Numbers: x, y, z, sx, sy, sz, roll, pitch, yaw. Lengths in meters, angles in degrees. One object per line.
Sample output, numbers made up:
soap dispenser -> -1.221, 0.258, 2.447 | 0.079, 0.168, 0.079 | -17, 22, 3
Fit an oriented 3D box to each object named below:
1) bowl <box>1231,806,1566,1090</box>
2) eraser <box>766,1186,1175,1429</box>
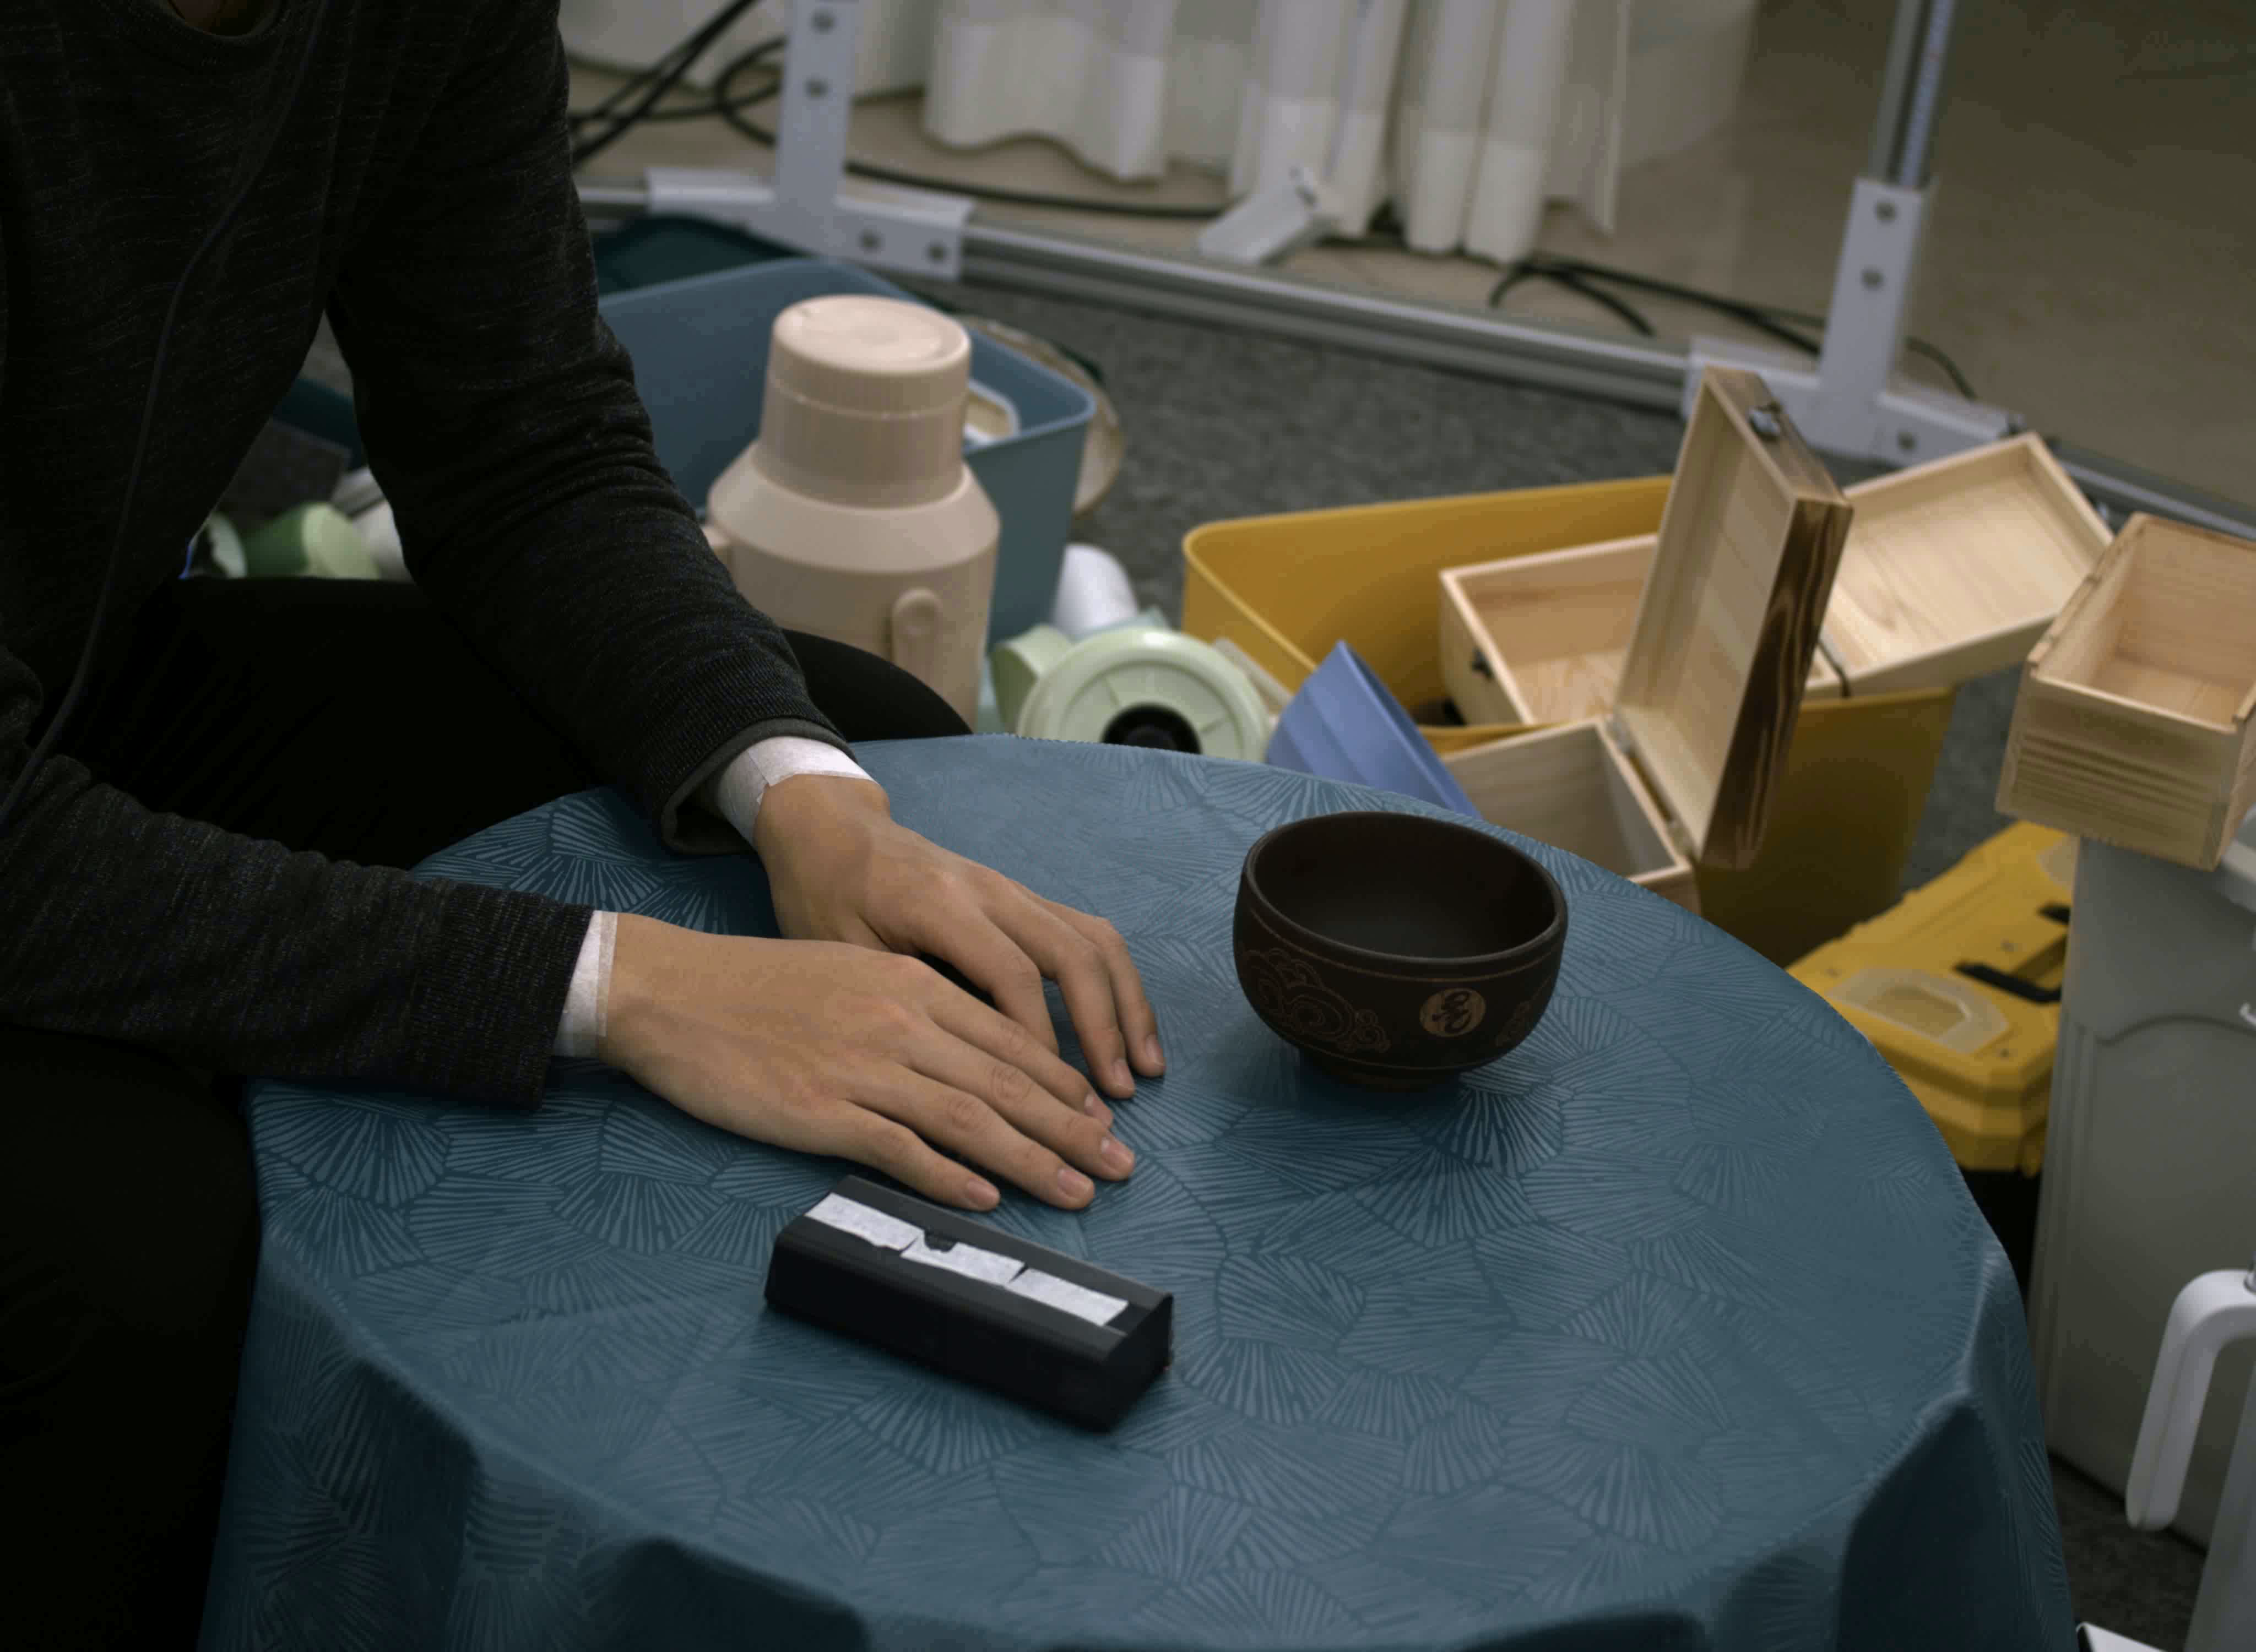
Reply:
bowl -> 0.094, 0.050, 1.890 | 0.117, 0.069, 0.119 | 5, 29, -3
eraser -> -0.050, 0.153, 1.701 | 0.126, 0.030, 0.053 | 18, 26, 21
